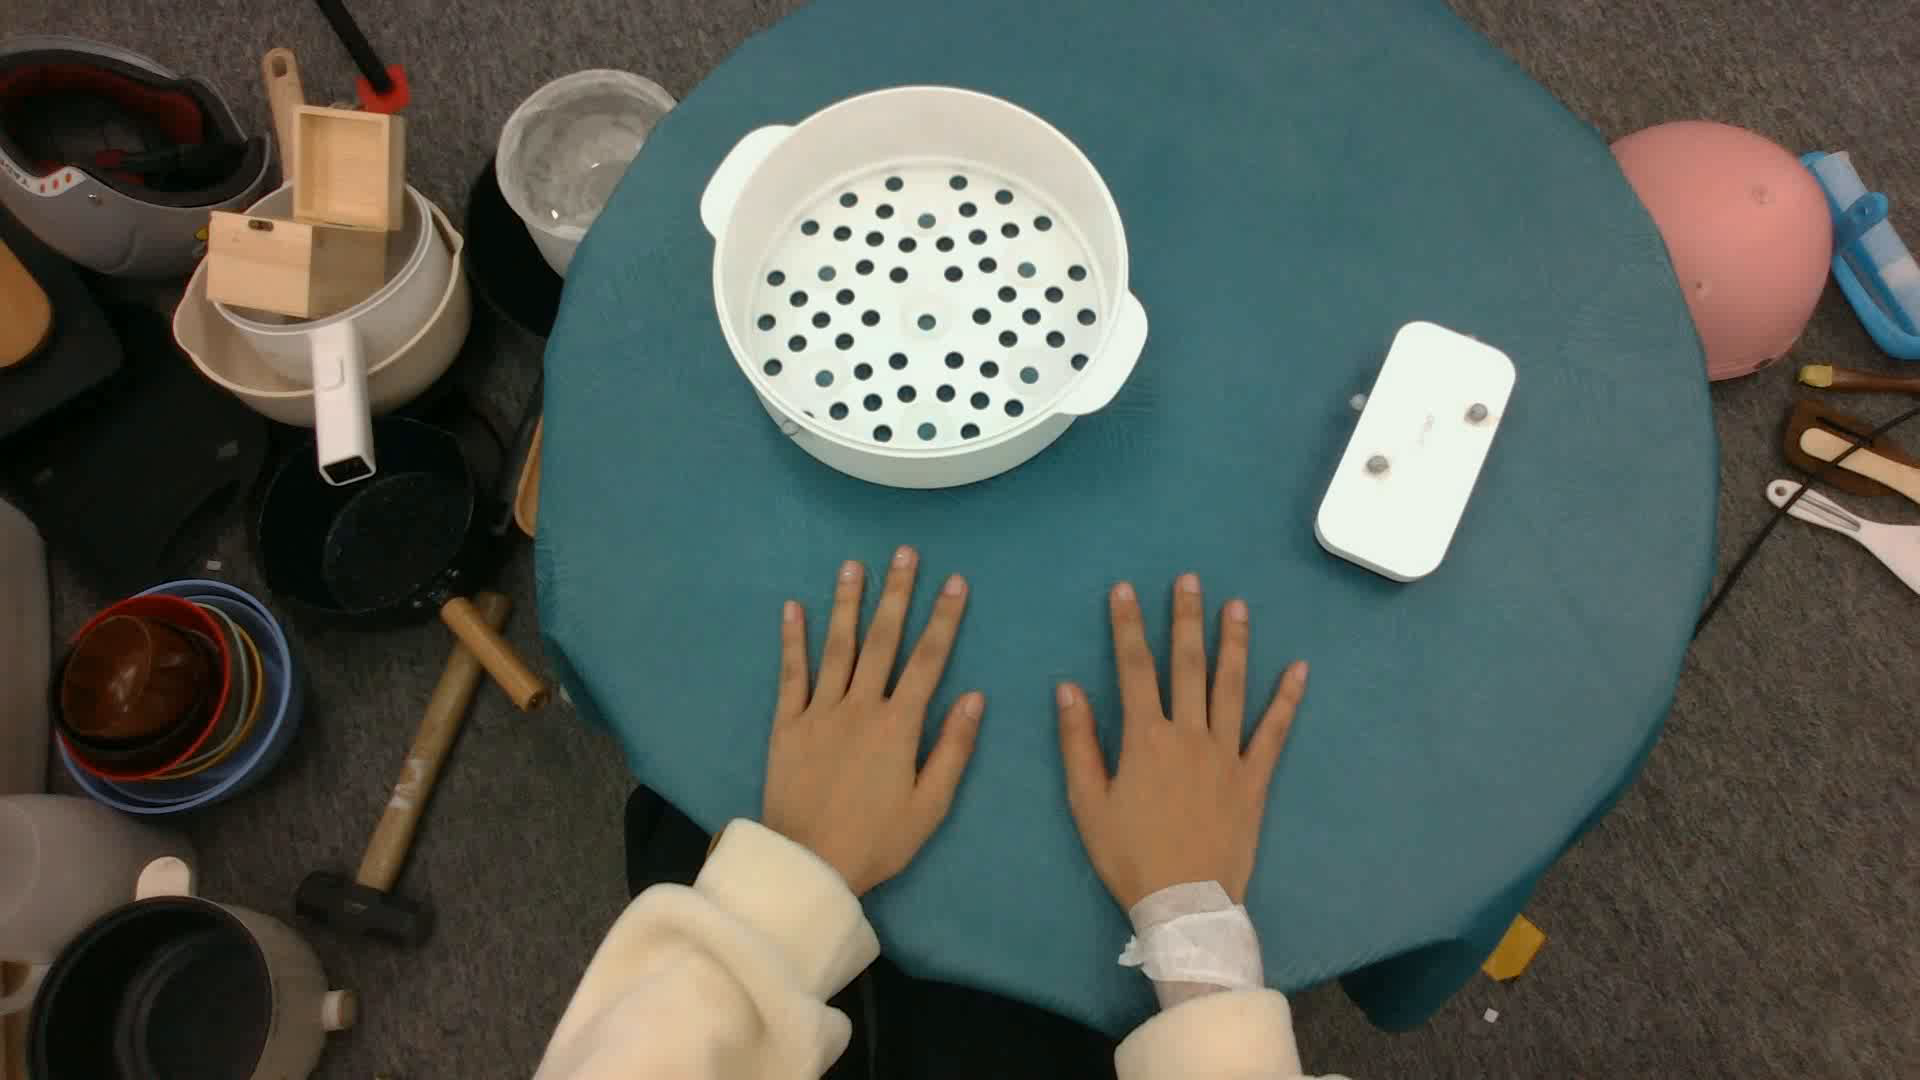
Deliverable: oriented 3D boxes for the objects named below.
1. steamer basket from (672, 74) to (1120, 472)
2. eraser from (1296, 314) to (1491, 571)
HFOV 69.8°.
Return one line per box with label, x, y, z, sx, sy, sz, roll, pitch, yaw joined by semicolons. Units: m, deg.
steamer basket;-0.032;-0.132;0.692;0.230;0.069;0.202;27;74;10
eraser;0.213;-0.050;0.681;0.063;0.034;0.131;25;73;9
